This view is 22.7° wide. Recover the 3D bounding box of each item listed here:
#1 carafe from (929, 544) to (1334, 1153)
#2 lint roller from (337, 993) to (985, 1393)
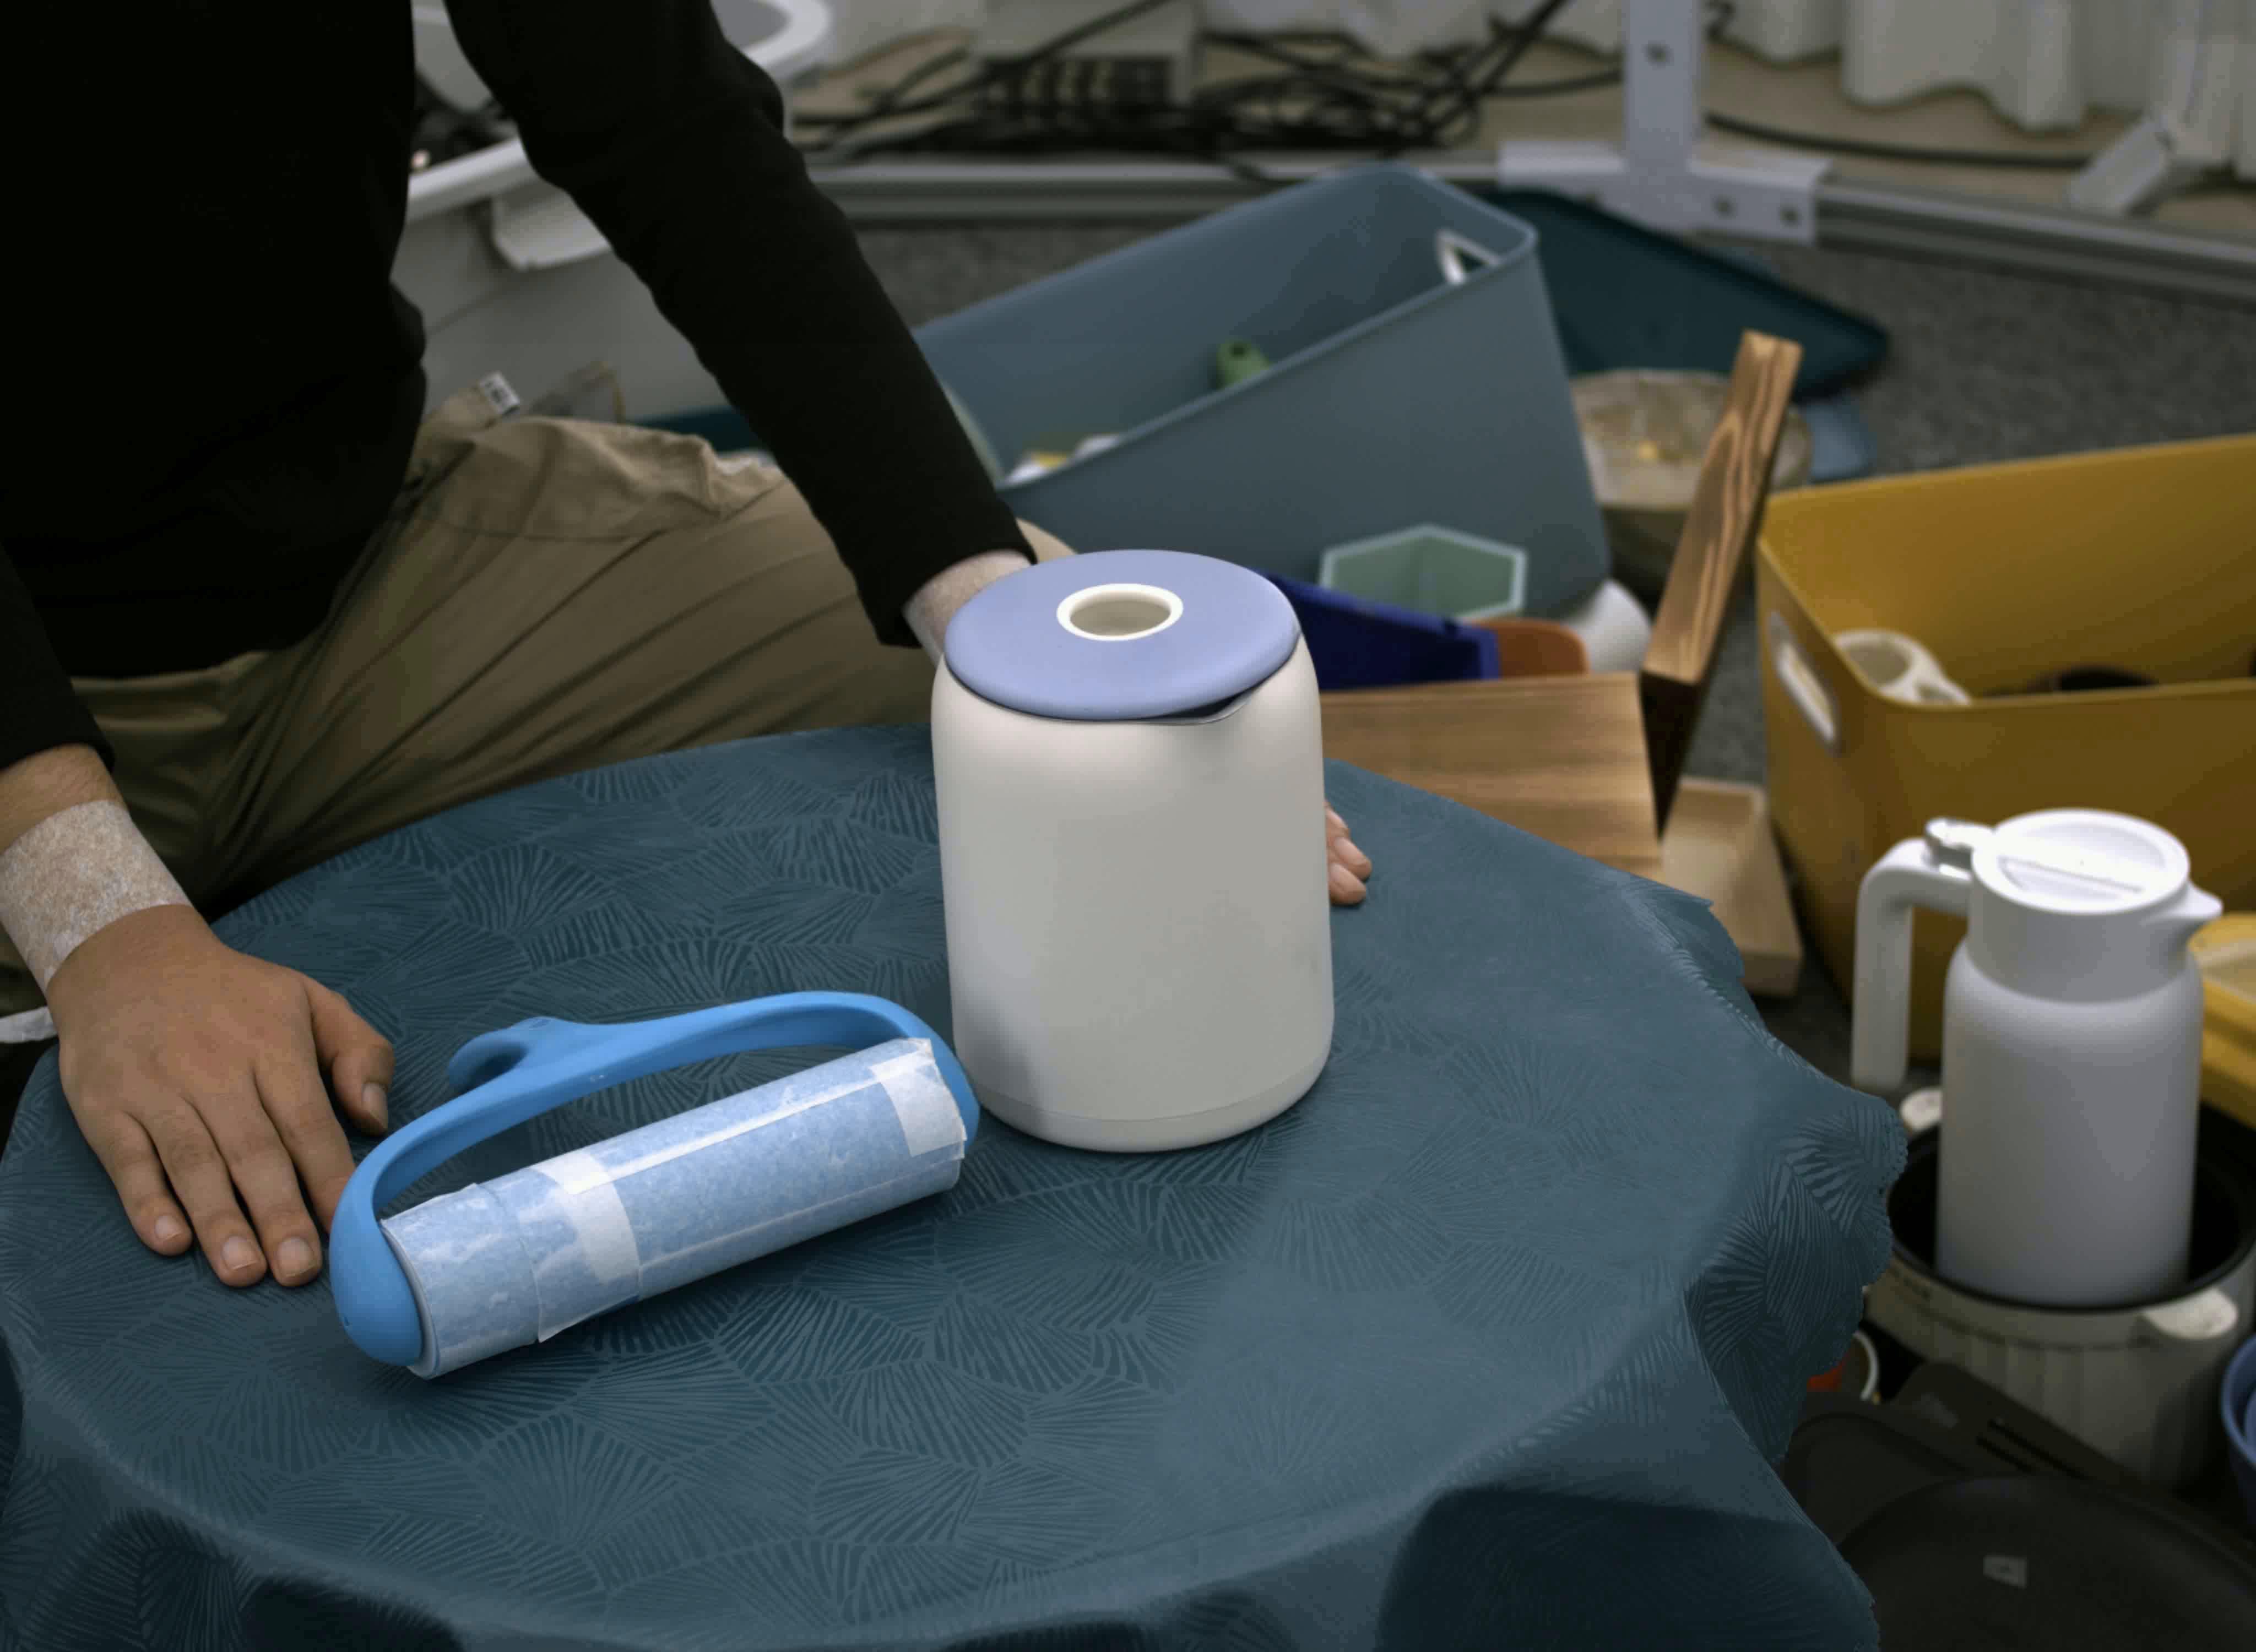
[{"bbox_3d":[-0.010,-0.002,1.916,0.133,0.181,0.192,-16,27,-25],"label":"carafe"},{"bbox_3d":[-0.181,0.098,1.860,0.231,0.067,0.181,-22,38,-27],"label":"lint roller"}]
